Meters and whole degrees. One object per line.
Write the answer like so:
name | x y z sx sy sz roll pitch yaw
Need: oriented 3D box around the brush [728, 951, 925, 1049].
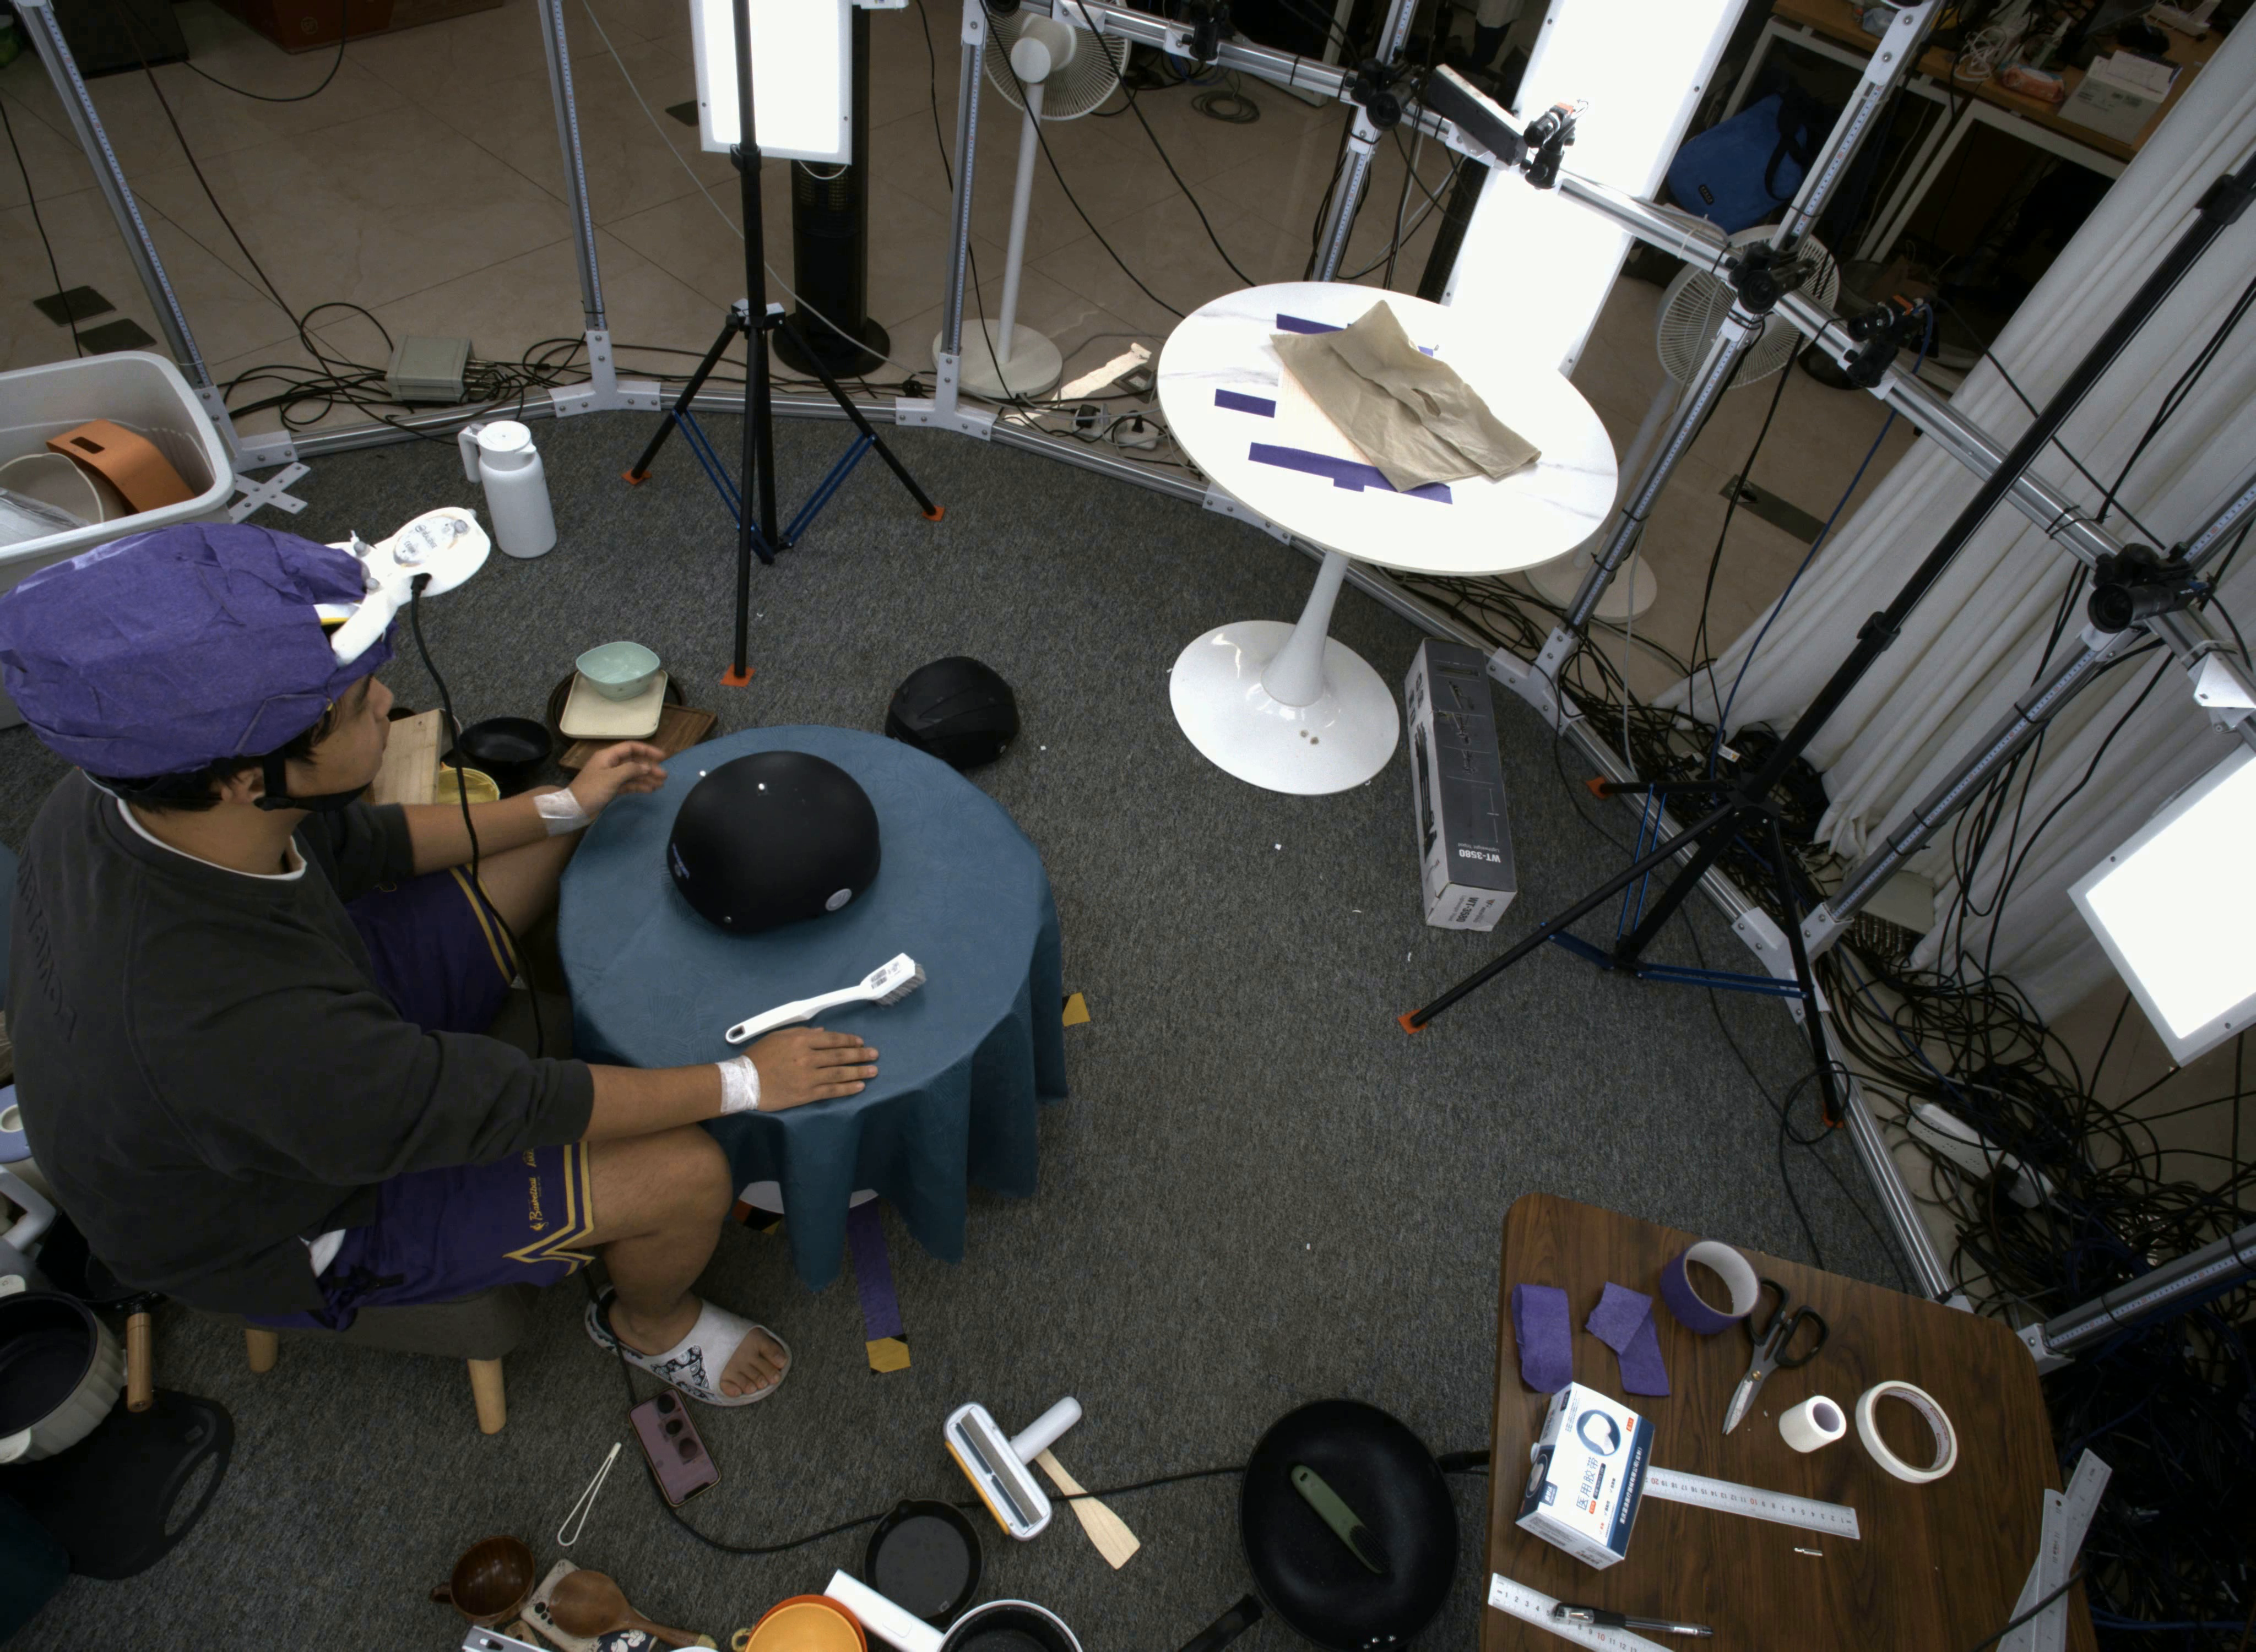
brush | -0.362 0.218 1.567 0.243 0.052 0.033 -25 52 -14

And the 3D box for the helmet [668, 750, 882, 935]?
helmet | -0.440 -0.001 1.624 0.275 0.169 0.225 -16 62 -26
